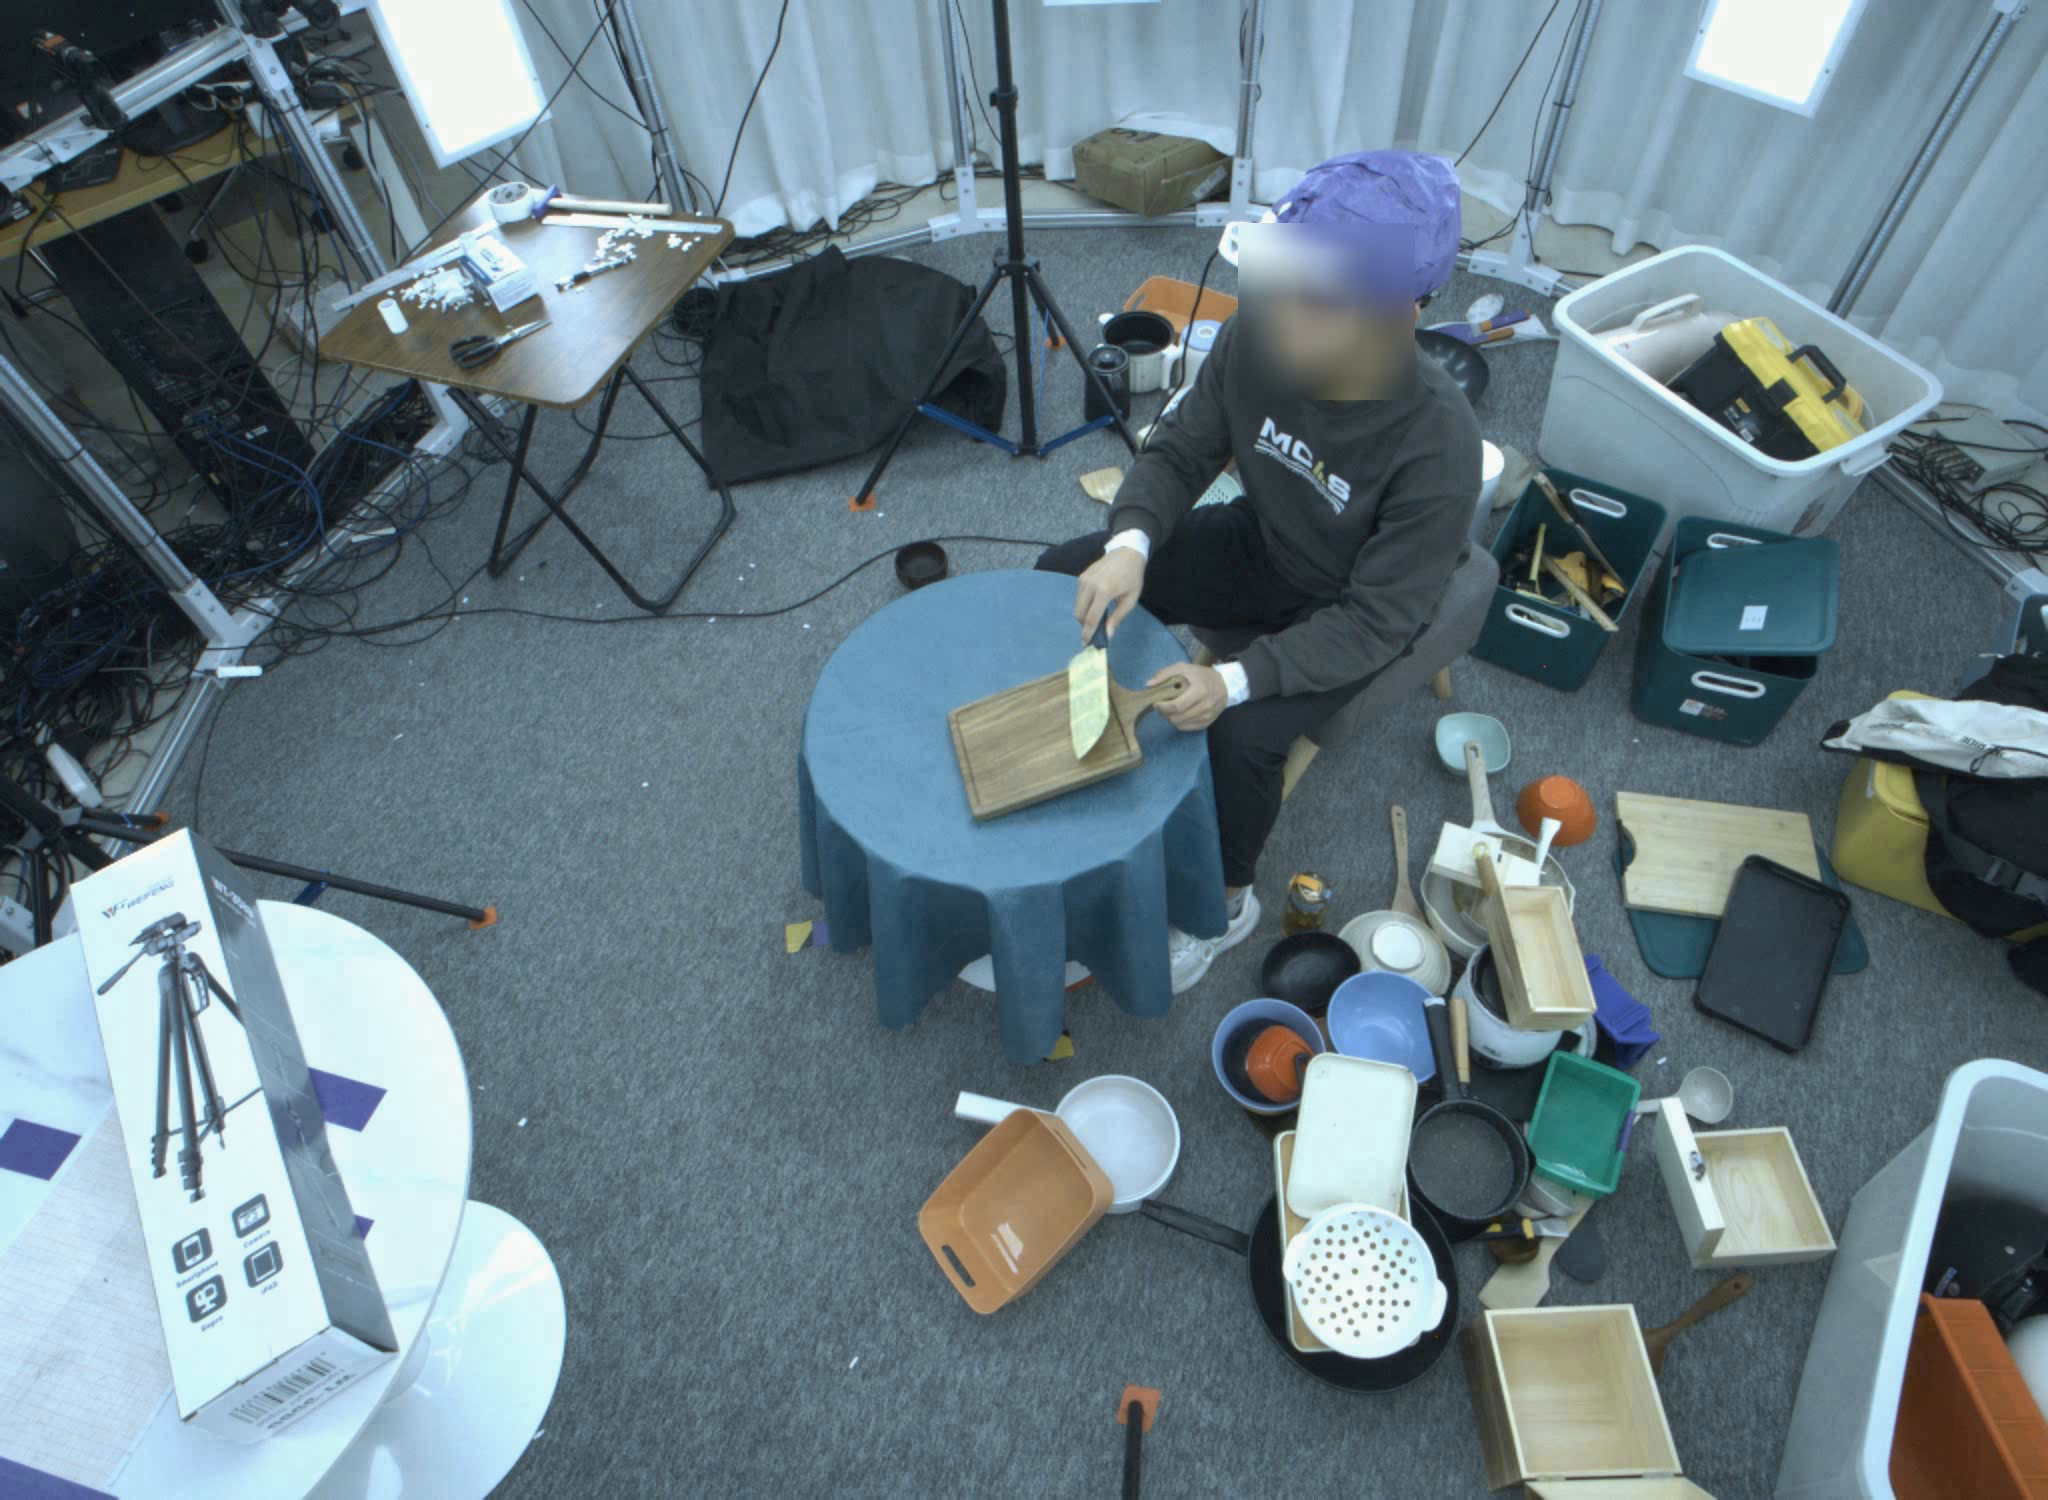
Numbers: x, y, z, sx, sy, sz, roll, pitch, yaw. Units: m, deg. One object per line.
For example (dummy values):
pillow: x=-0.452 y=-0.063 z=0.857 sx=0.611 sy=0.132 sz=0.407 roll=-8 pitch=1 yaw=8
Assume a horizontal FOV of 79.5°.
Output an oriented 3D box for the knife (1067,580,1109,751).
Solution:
knife: x=0.093 y=-0.123 z=1.767 sx=0.080 sy=0.028 sz=0.287 roll=-23 pitch=51 yaw=37

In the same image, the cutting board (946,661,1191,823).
cutting board: x=0.072 y=-0.035 z=1.764 sx=0.352 sy=0.023 sz=0.198 roll=-20 pitch=55 yaw=1
